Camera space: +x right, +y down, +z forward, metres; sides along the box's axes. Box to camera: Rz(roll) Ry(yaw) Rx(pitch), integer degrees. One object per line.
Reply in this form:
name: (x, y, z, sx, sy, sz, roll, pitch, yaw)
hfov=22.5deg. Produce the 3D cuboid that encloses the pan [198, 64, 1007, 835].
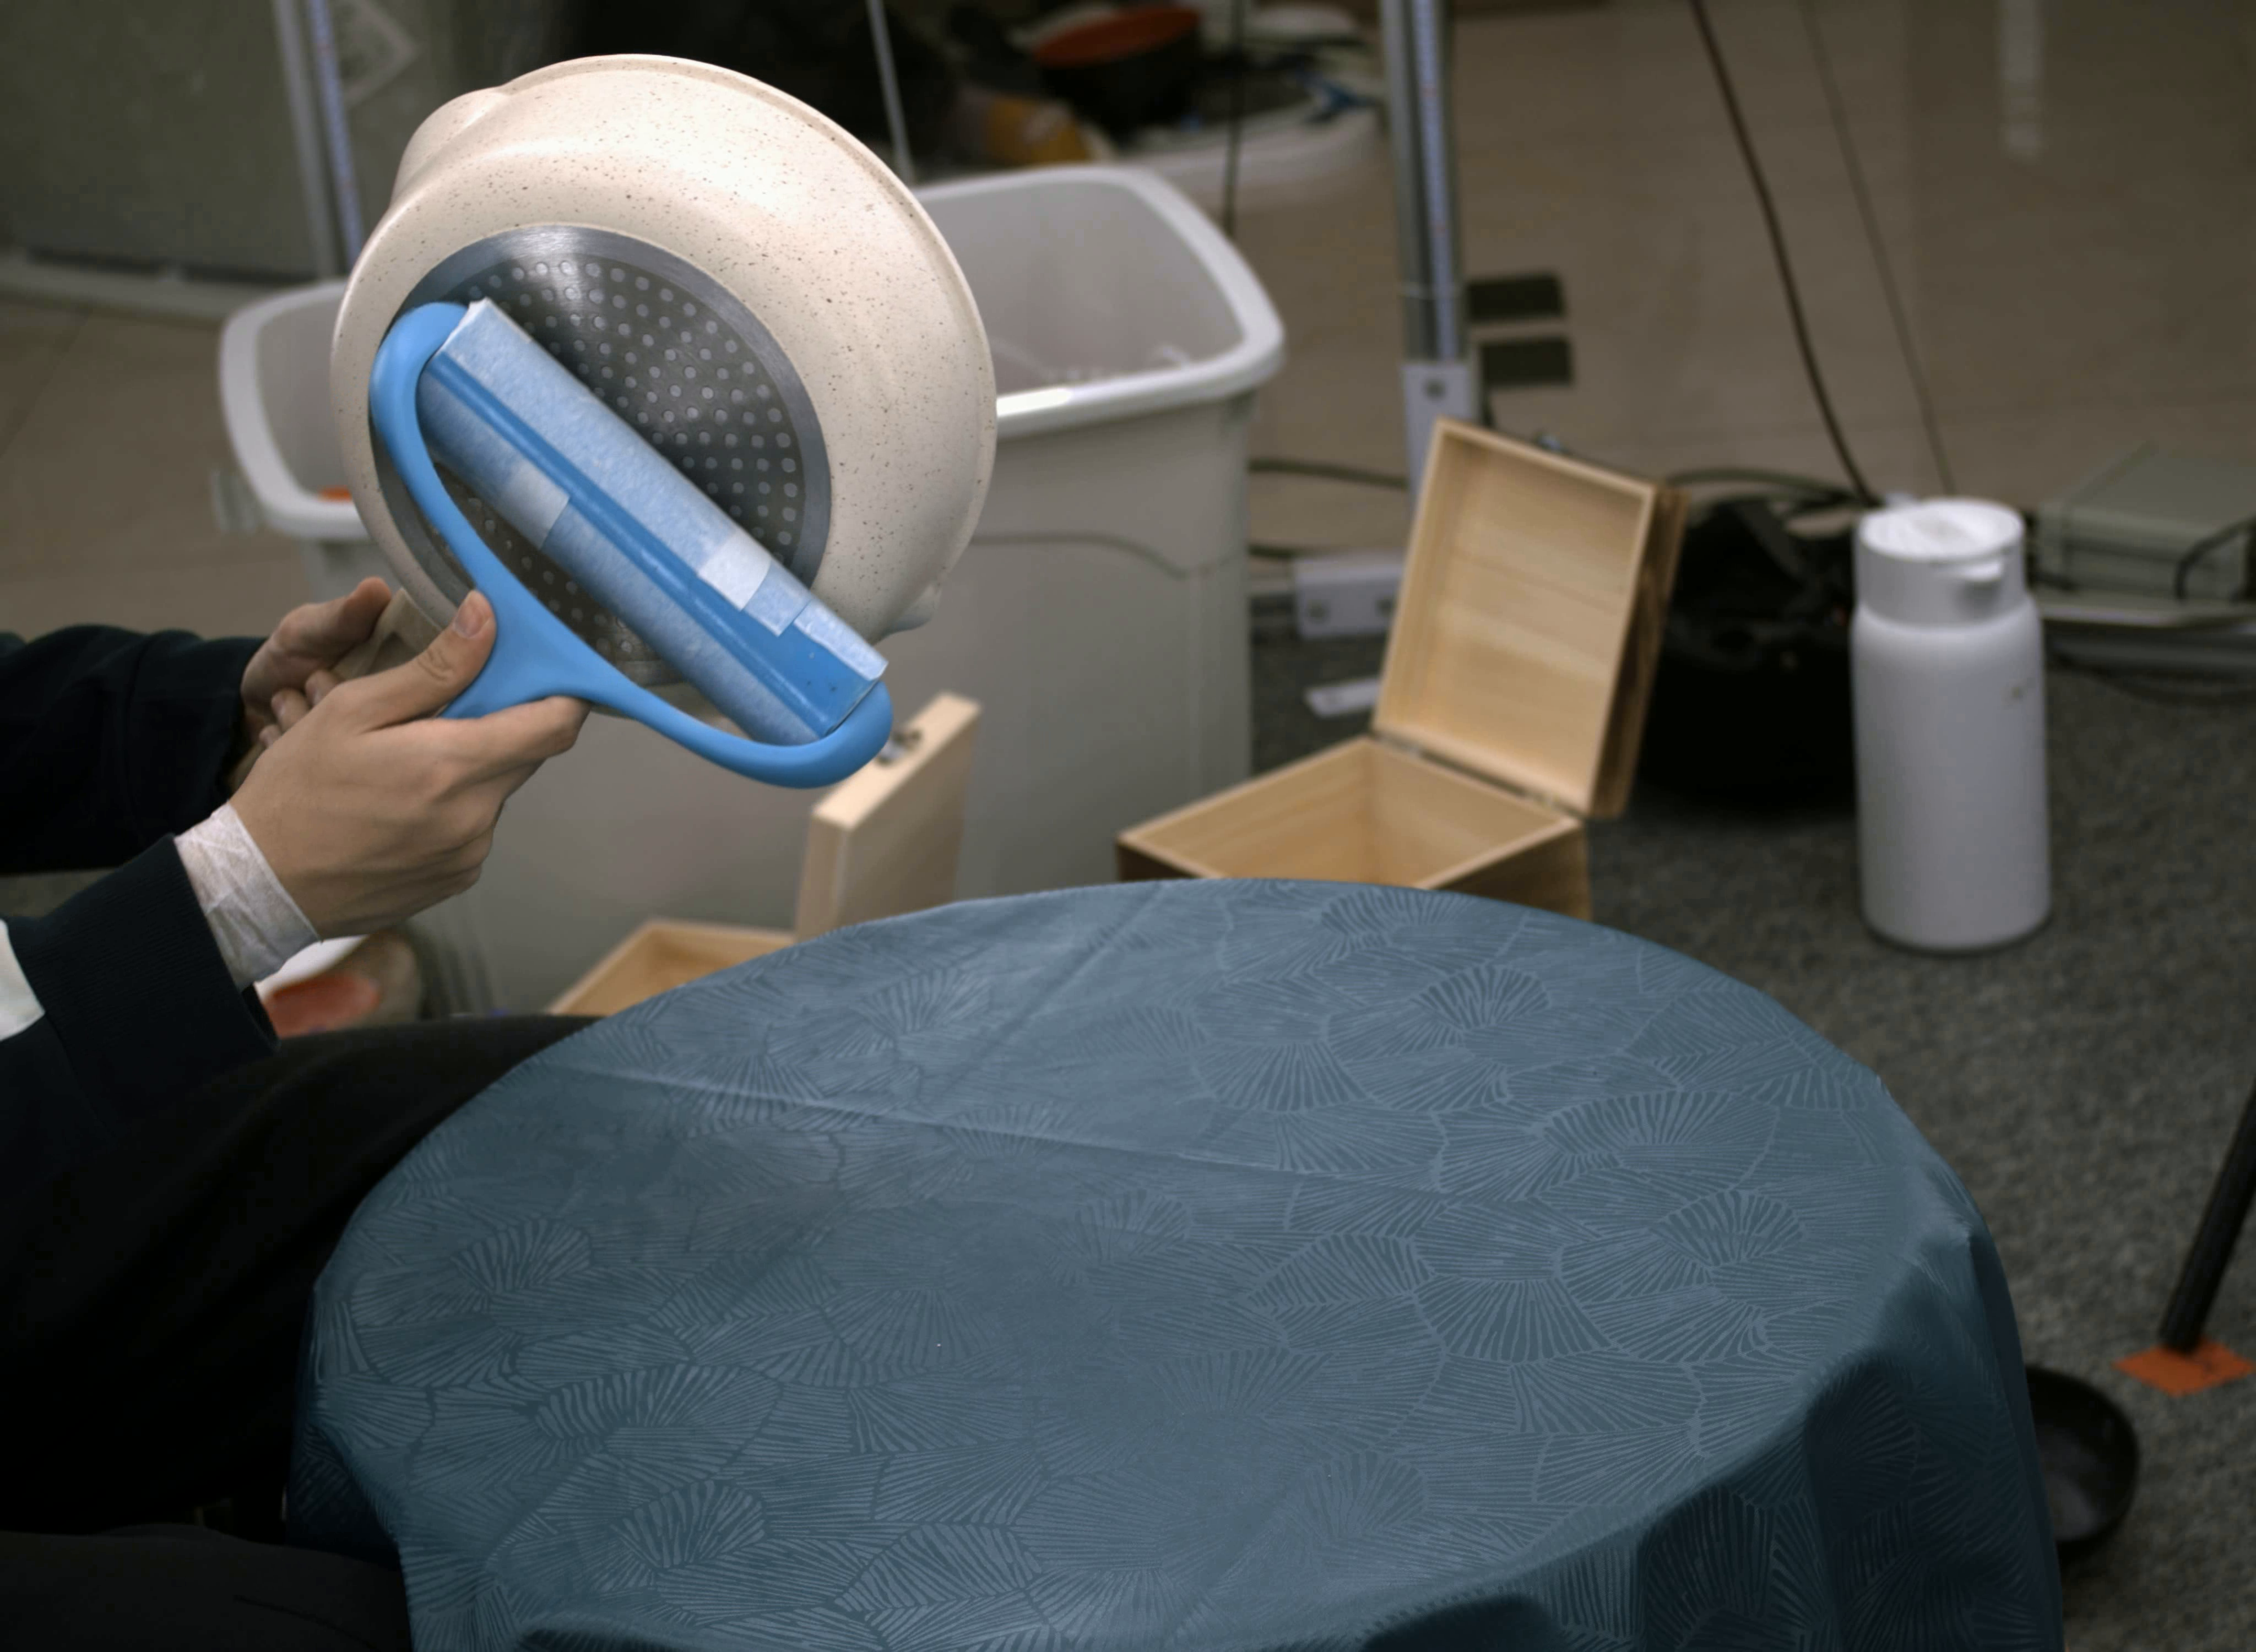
pan: (-0.234, -0.101, 2.127, 0.439, 0.264, 0.100, -39, 12, 33)

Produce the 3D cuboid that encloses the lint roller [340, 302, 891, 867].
lint roller: (-0.212, -0.058, 2.006, 0.179, 0.229, 0.068, -52, 8, -8)
